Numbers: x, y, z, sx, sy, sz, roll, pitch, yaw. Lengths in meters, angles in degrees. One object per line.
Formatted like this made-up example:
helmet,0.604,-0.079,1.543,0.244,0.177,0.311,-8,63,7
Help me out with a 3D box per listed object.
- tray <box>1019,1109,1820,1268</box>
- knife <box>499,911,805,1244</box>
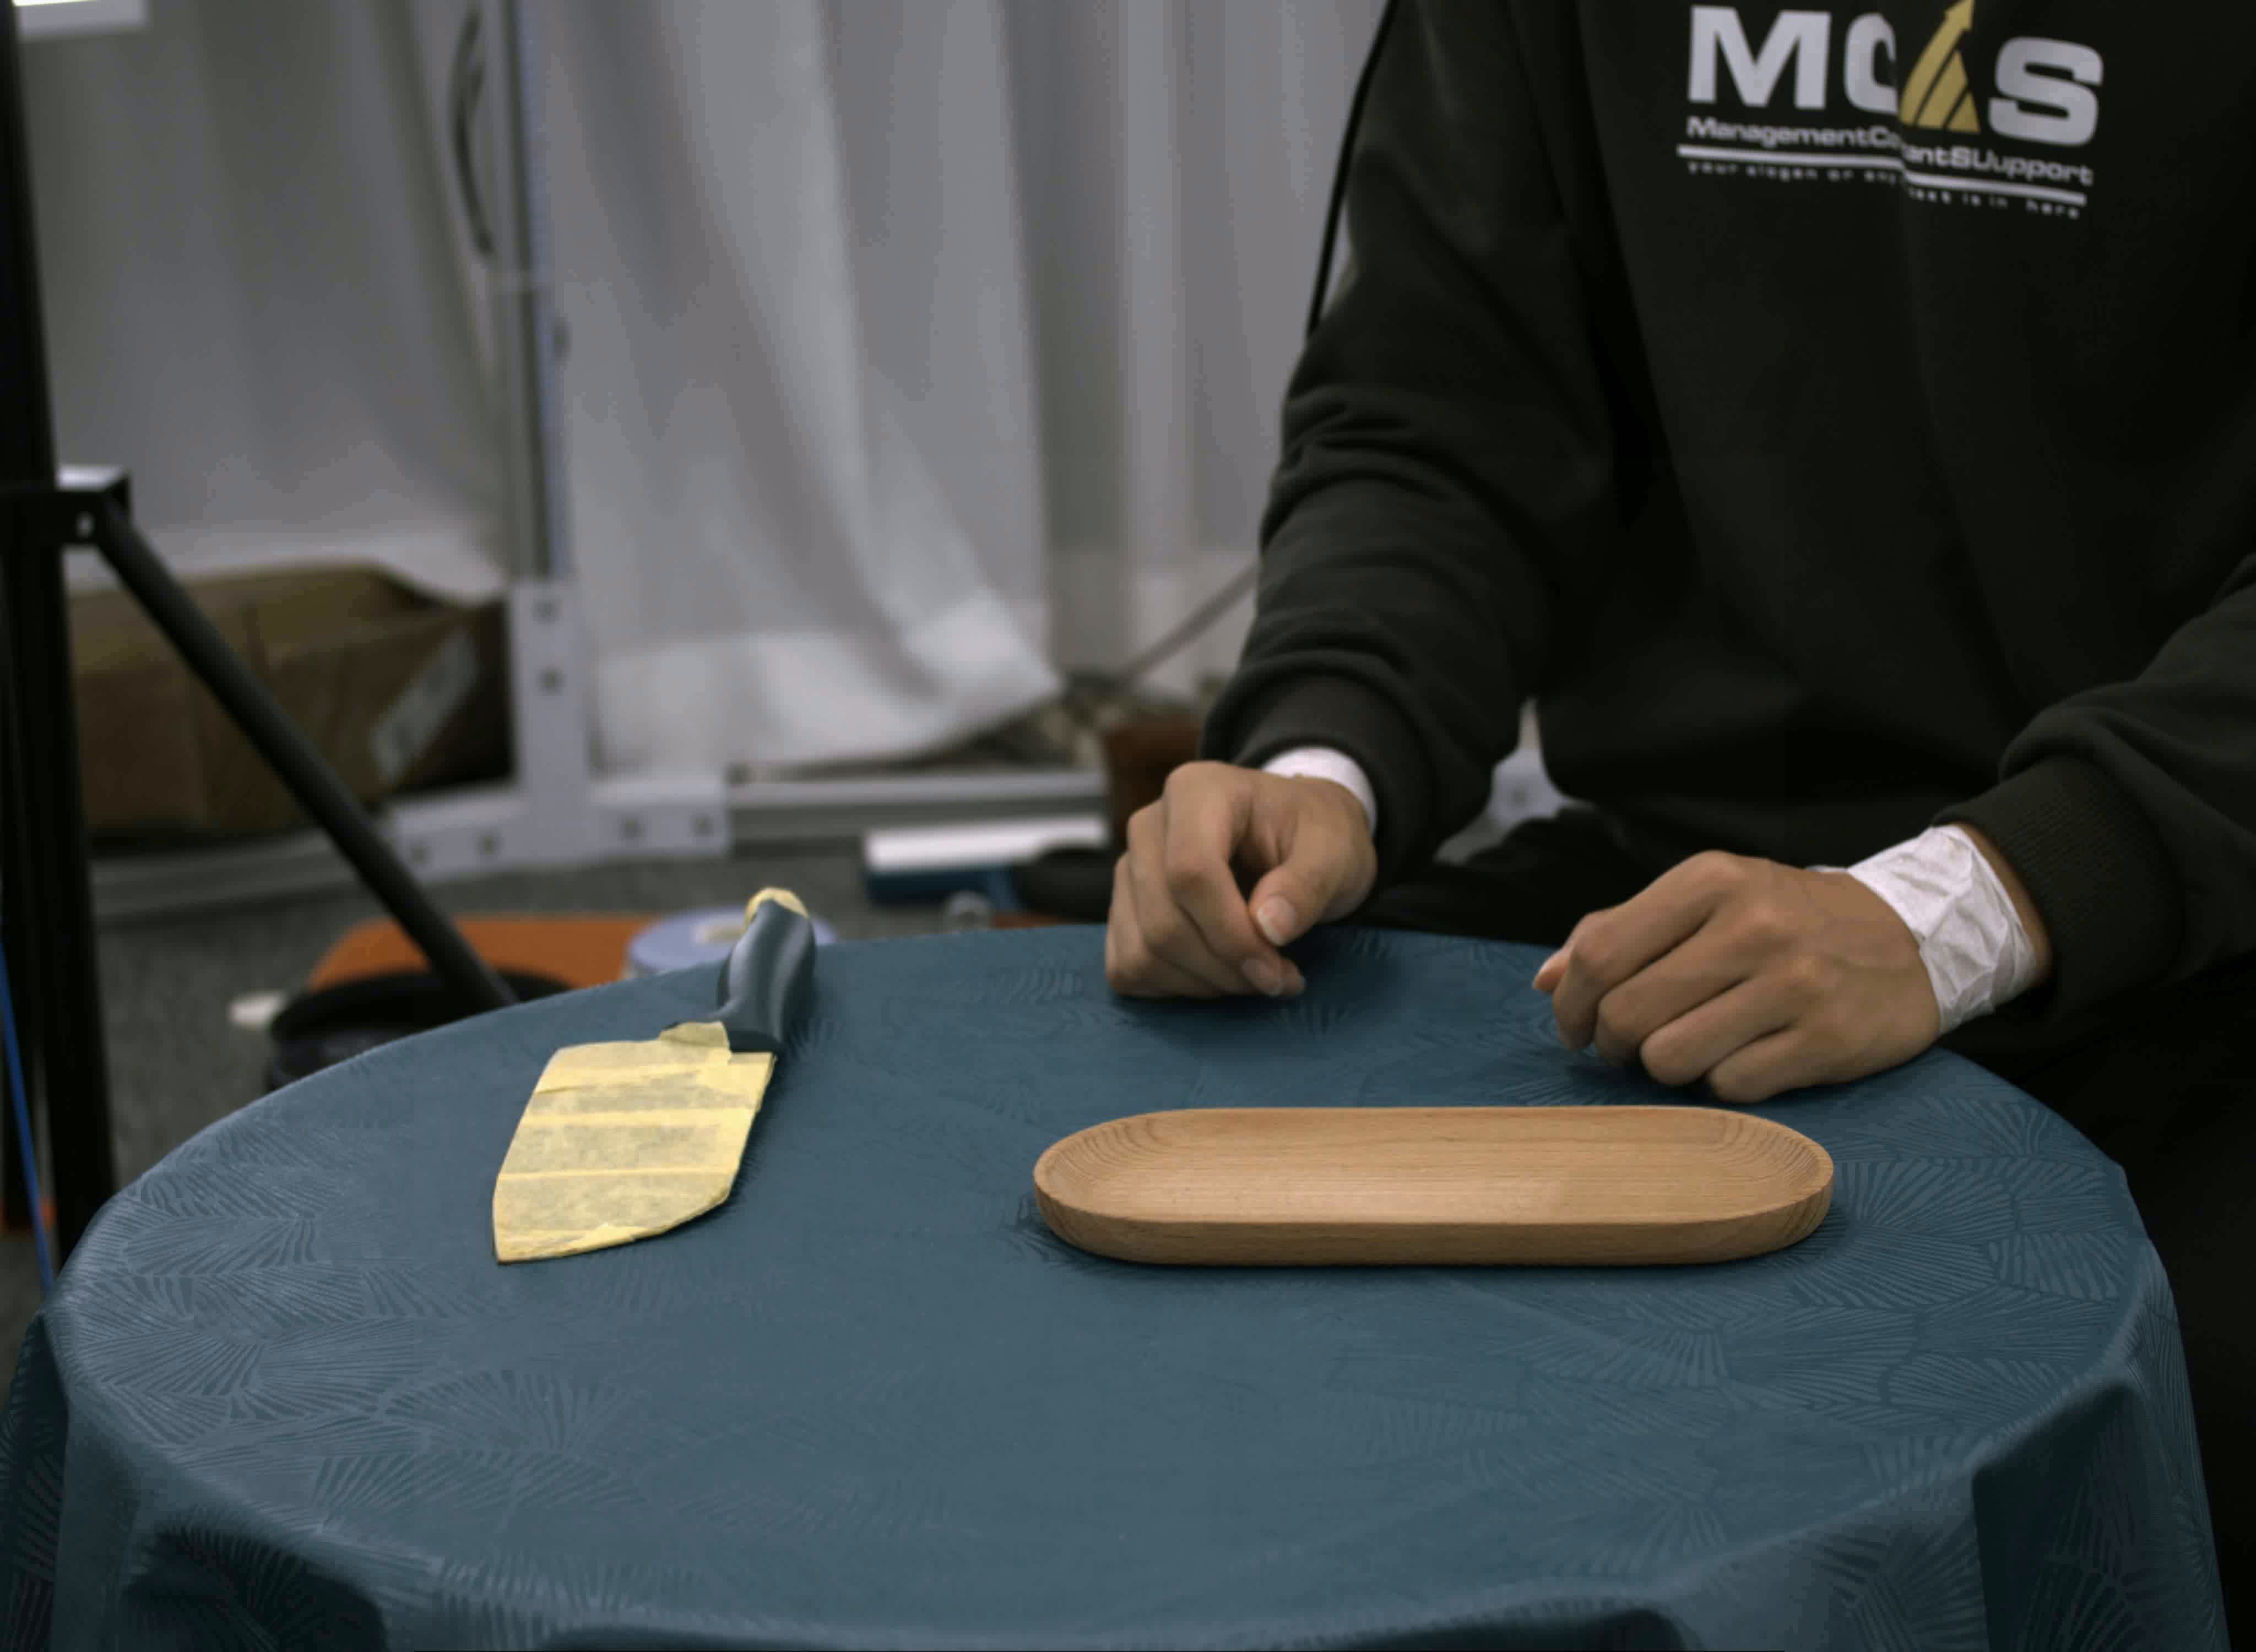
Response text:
tray,0.084,0.105,1.530,0.231,0.020,0.101,-2,14,8
knife,-0.145,0.078,1.664,0.081,0.027,0.289,1,17,7
